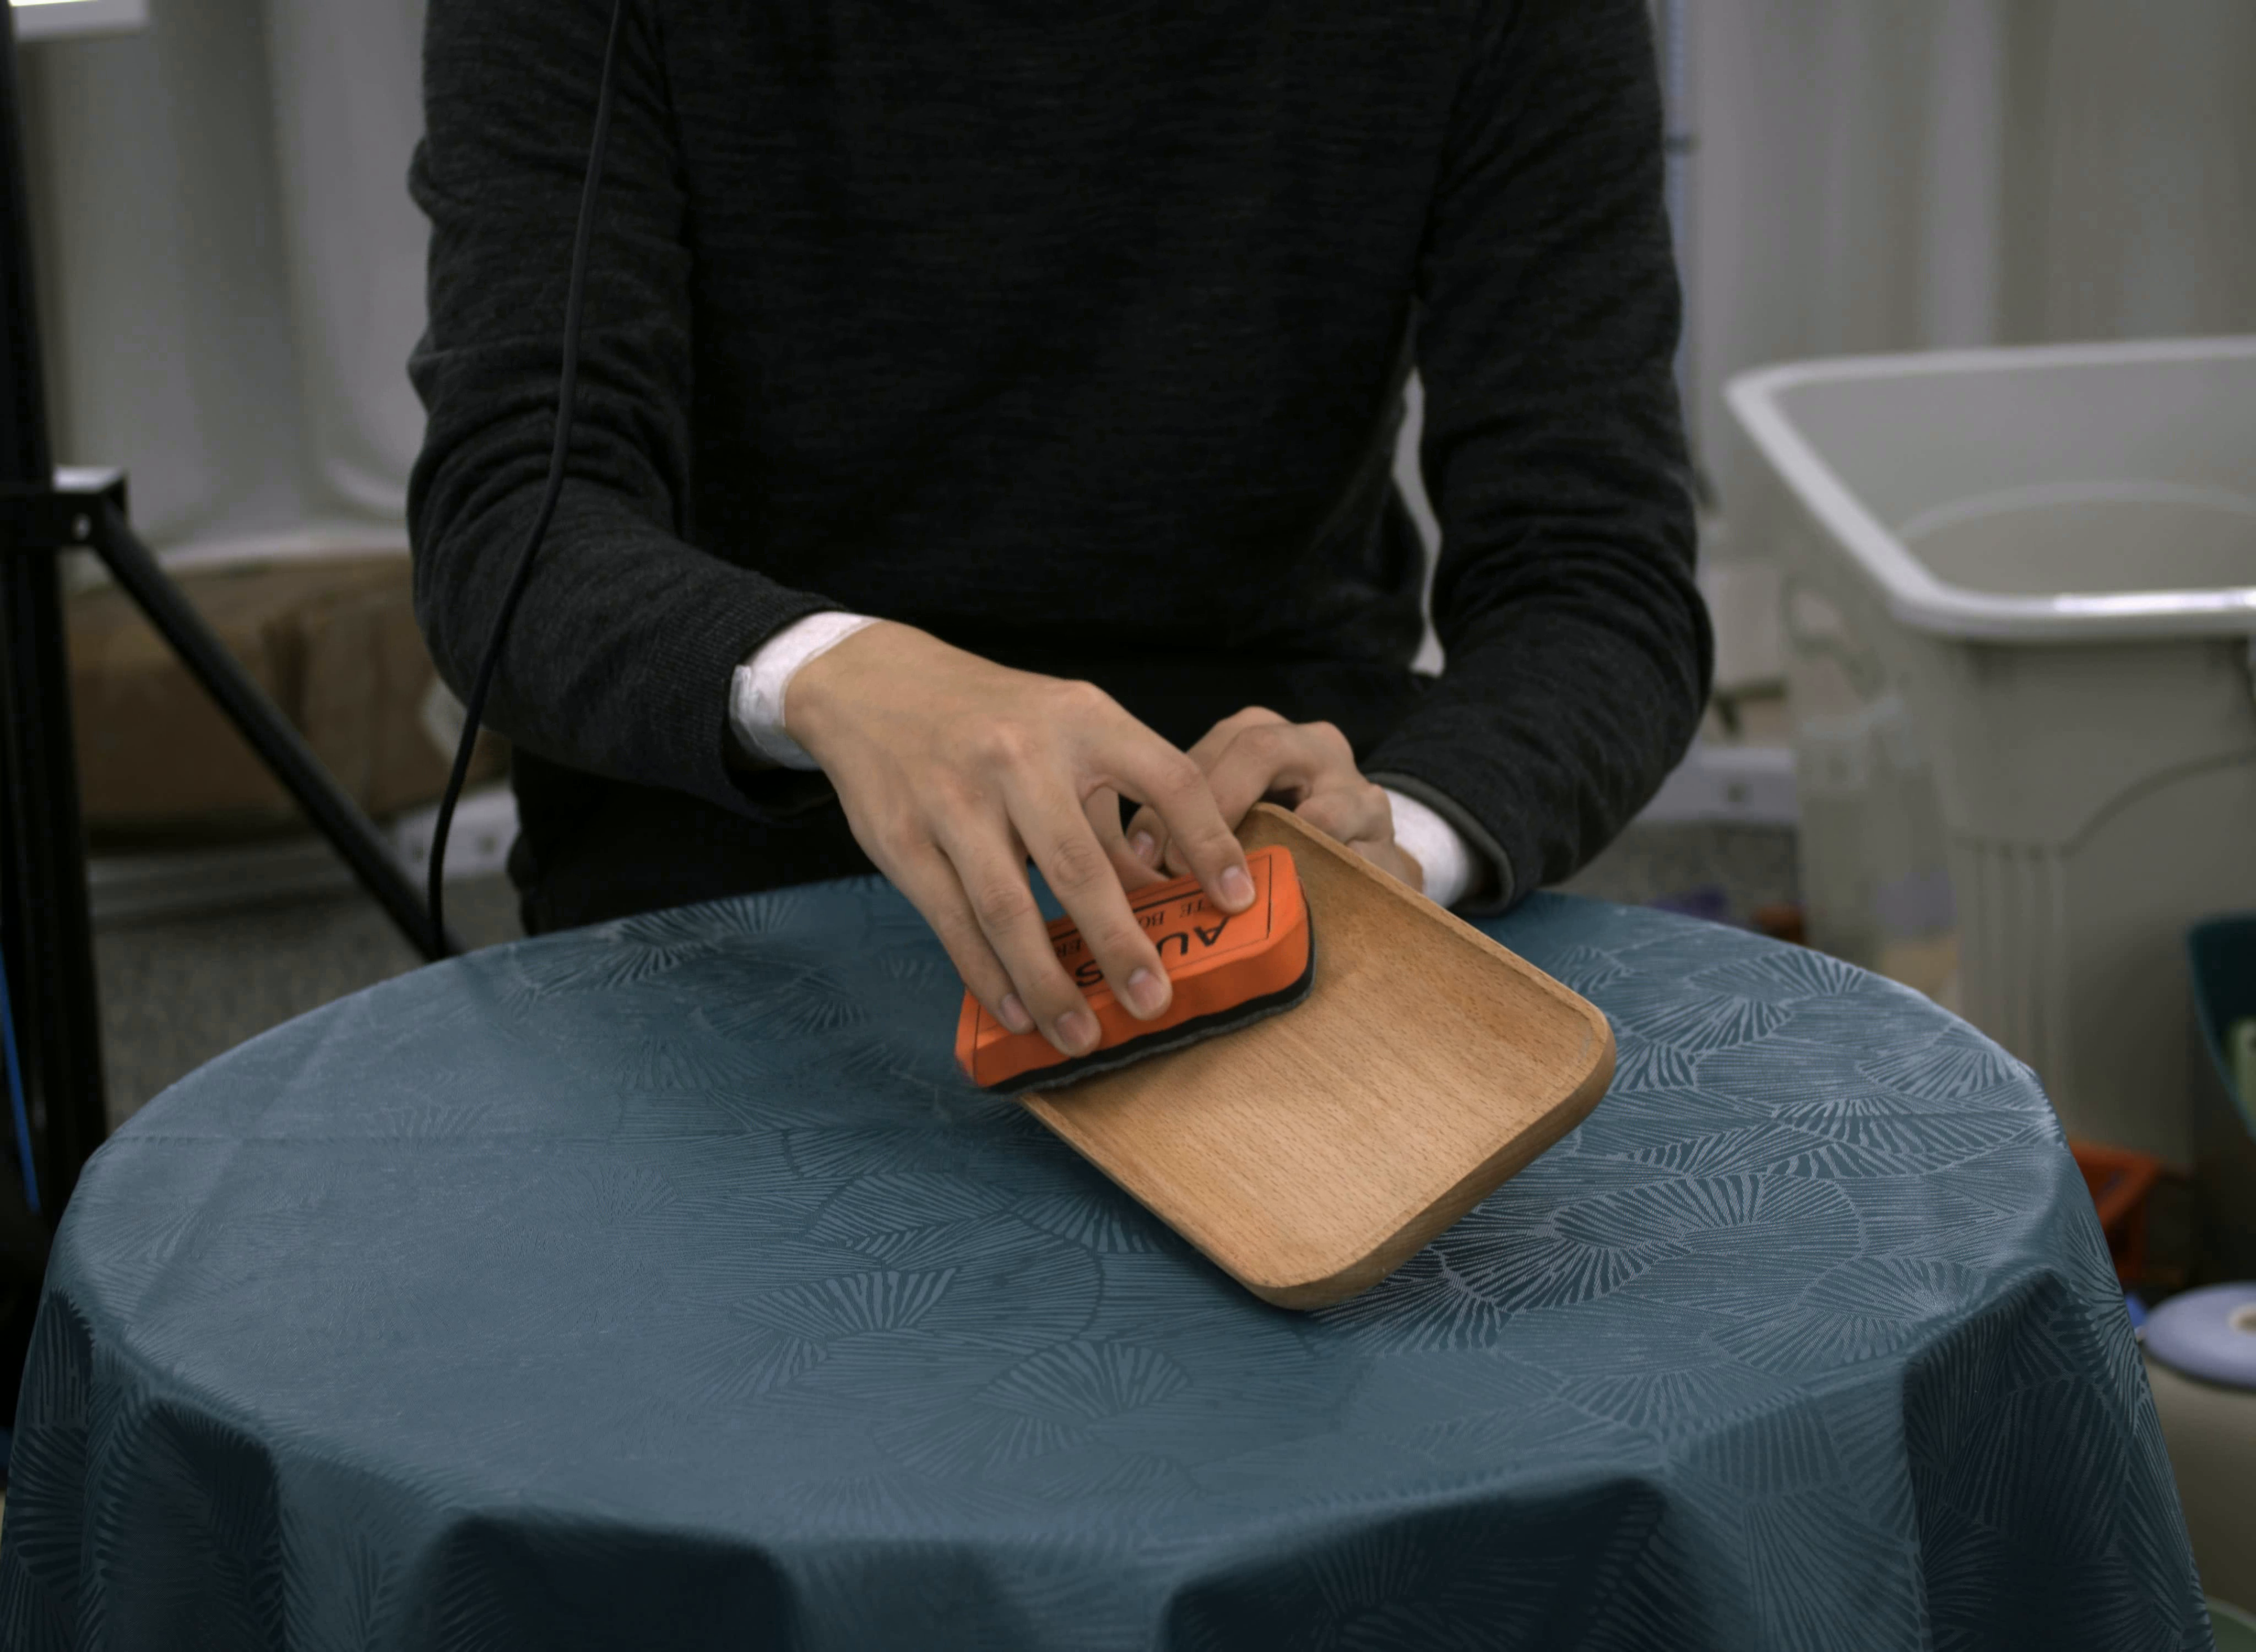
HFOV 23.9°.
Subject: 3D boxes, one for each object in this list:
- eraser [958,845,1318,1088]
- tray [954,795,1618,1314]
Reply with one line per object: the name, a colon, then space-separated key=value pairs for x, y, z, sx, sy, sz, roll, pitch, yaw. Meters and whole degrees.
eraser: x=0.003 y=0.042 z=1.598 sx=0.109 sy=0.022 sz=0.059 roll=-18 pitch=27 yaw=18
tray: x=0.043 y=0.064 z=1.555 sx=0.129 sy=0.022 sz=0.256 roll=-35 pitch=28 yaw=-10
